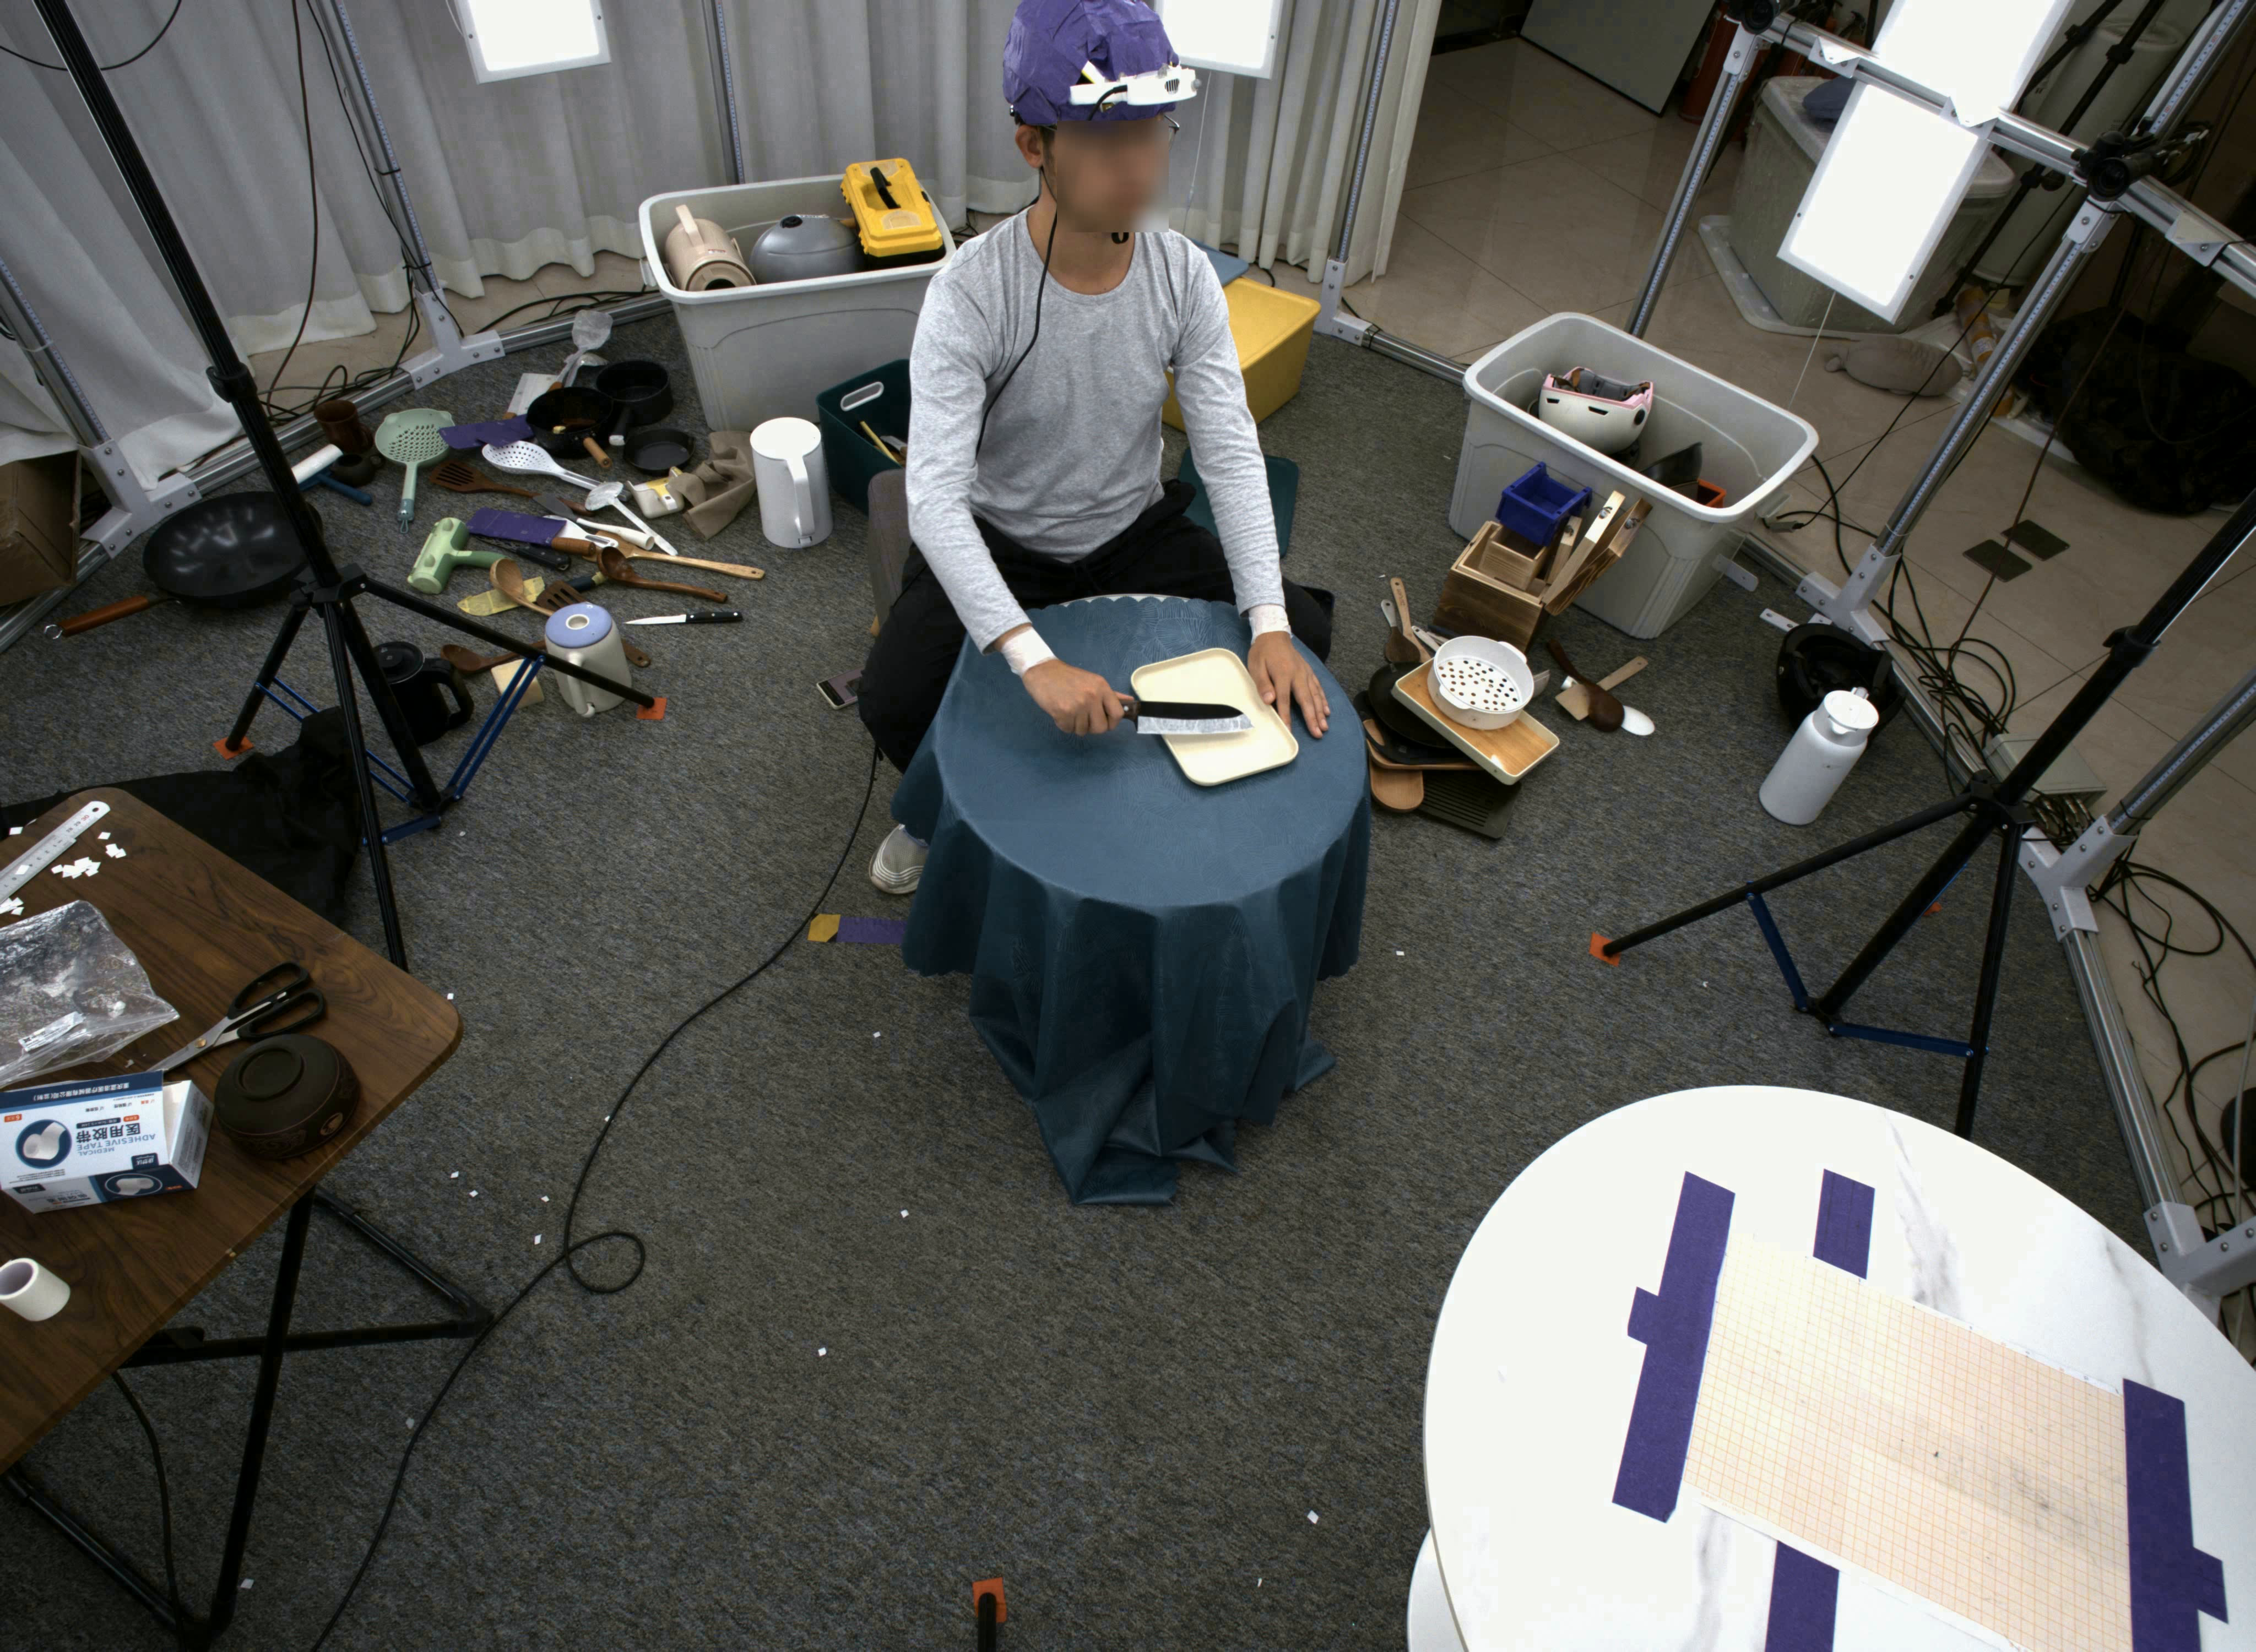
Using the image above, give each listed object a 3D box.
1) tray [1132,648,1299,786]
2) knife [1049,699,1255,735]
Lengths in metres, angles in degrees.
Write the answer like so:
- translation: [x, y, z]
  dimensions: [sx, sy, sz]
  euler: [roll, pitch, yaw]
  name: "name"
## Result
- translation: [0.119, -0.154, 1.798]
  dimensions: [0.171, 0.017, 0.245]
  euler: [-15, 52, -17]
  name: "tray"
- translation: [0.035, -0.148, 1.744]
  dimensions: [0.288, 0.020, 0.050]
  euler: [3, 88, -12]
  name: "knife"
